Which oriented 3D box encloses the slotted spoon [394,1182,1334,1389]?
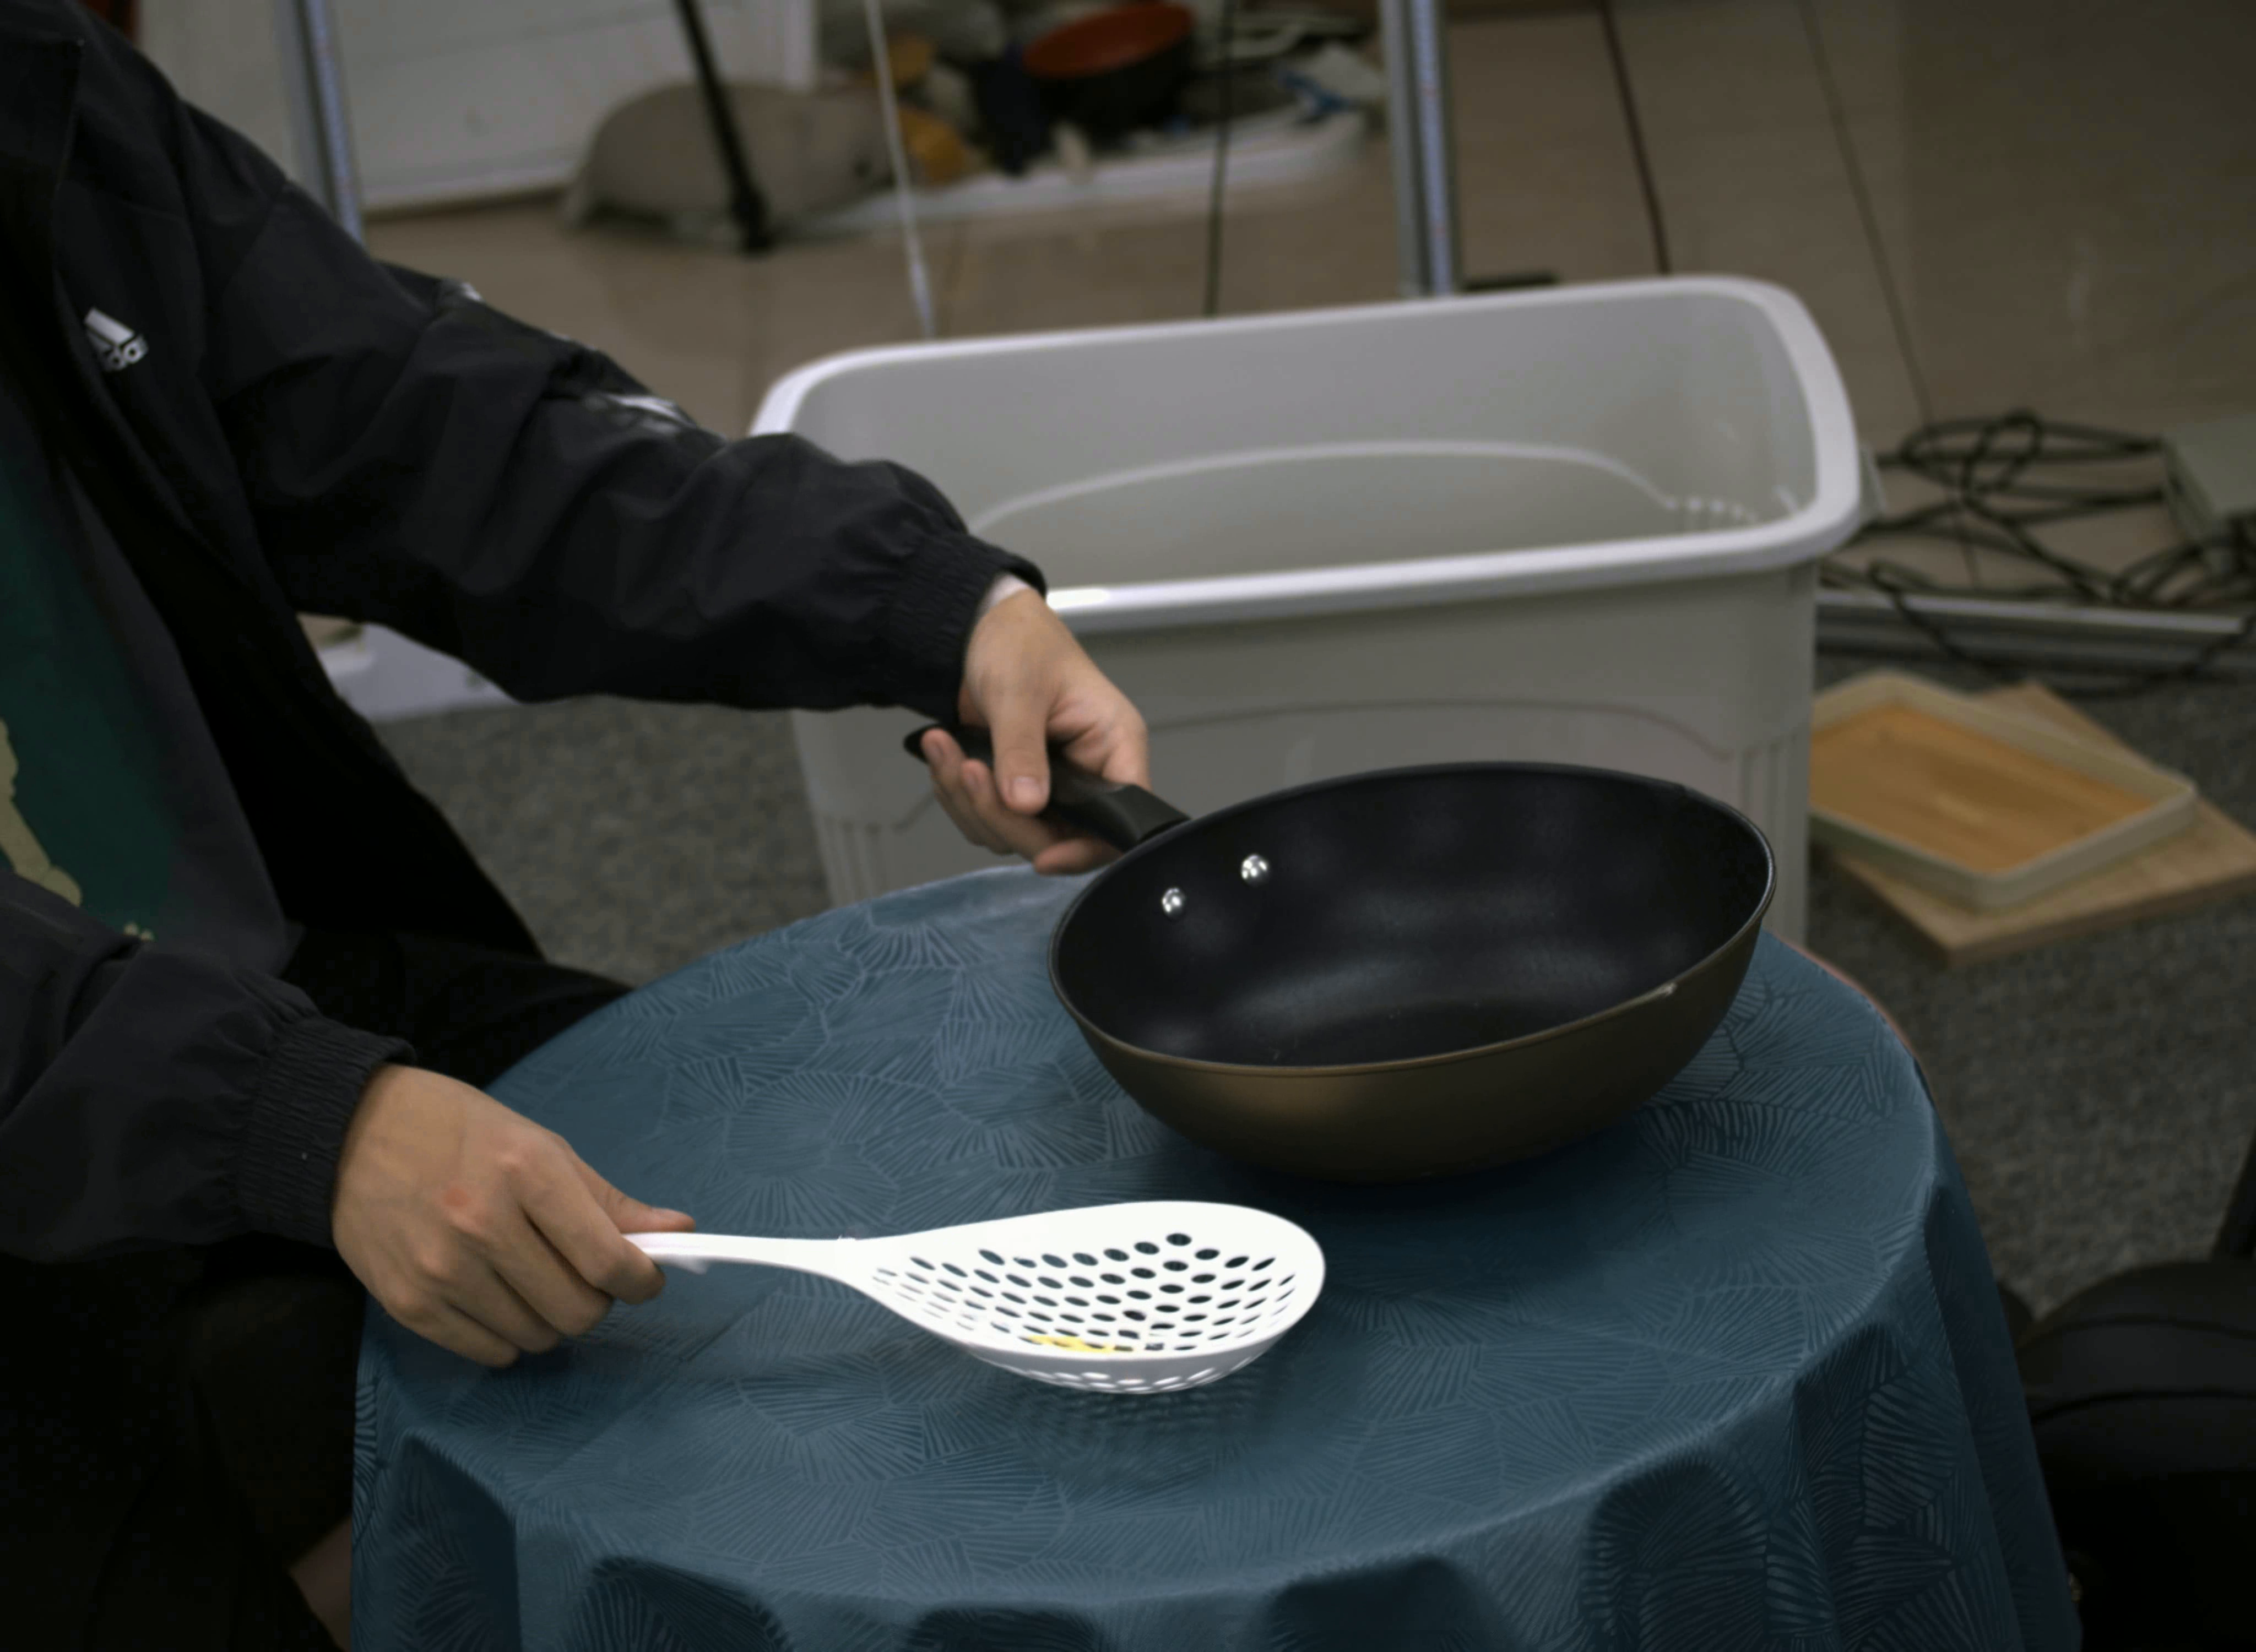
[{"bbox_3d":[-0.098,0.167,2.041,0.347,0.051,0.135,4,22,13],"label":"slotted spoon"}]

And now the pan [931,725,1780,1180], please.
[{"bbox_3d":[0.058,0.045,2.239,0.286,0.088,0.459,-23,26,-31],"label":"pan"}]
